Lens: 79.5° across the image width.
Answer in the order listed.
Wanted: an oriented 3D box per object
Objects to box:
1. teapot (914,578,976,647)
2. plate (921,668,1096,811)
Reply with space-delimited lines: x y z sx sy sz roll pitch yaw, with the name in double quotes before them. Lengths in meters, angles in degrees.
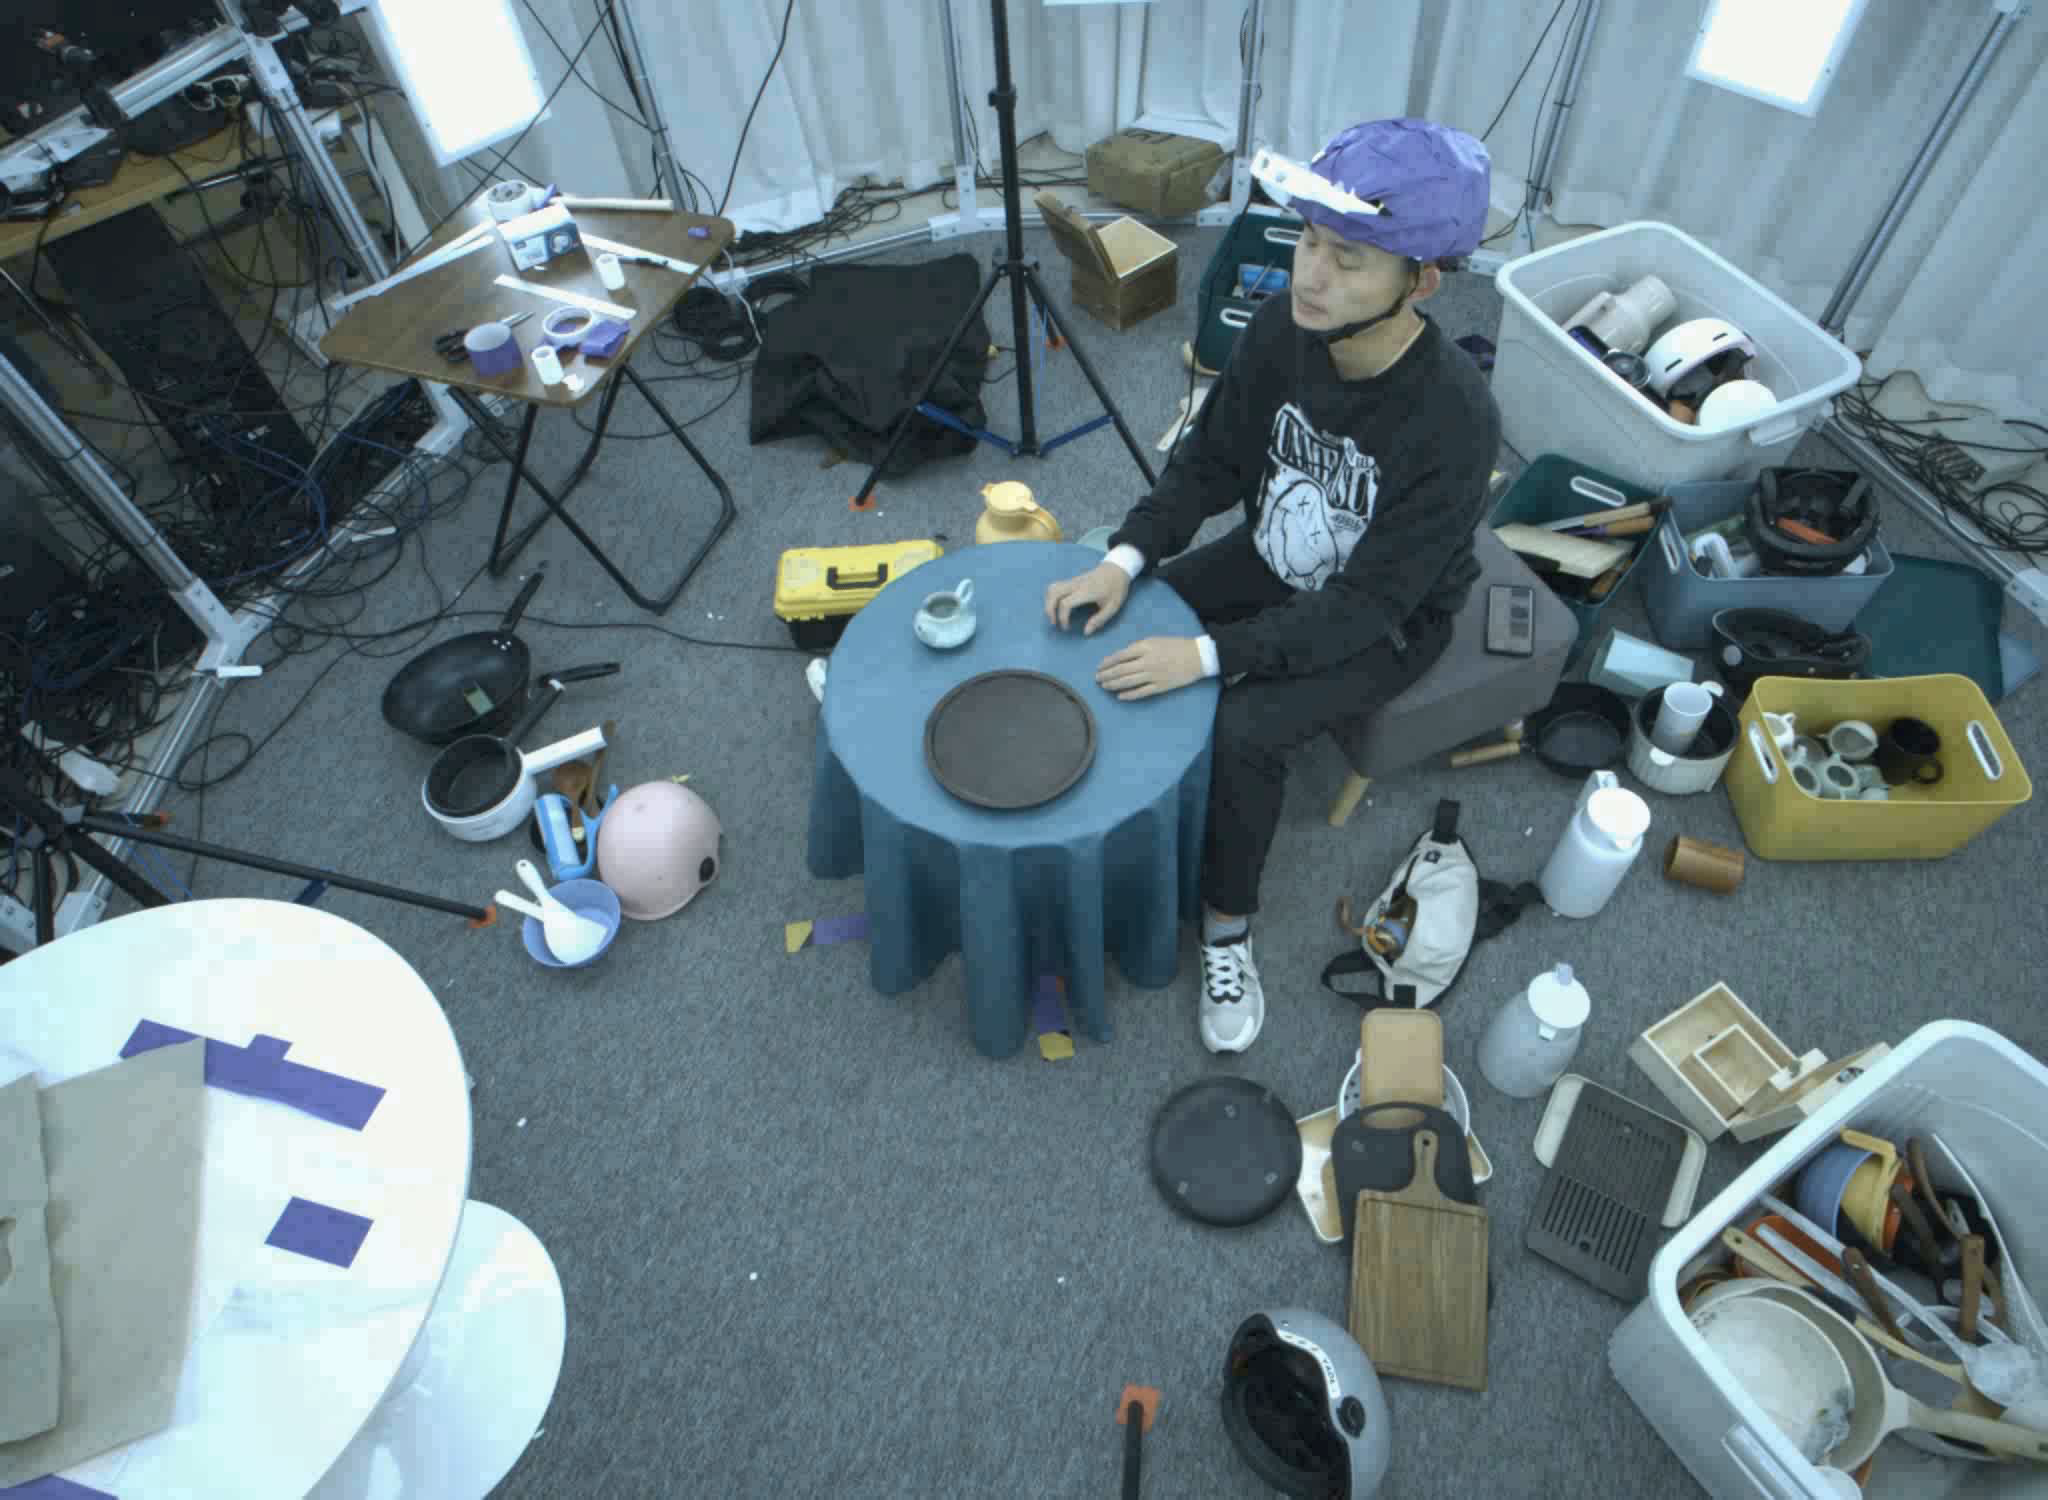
"teapot" -0.122 -0.209 1.899 0.095 0.062 0.137 25 59 21
"plate" -0.022 -0.016 1.781 0.254 0.029 0.252 -1 54 3
